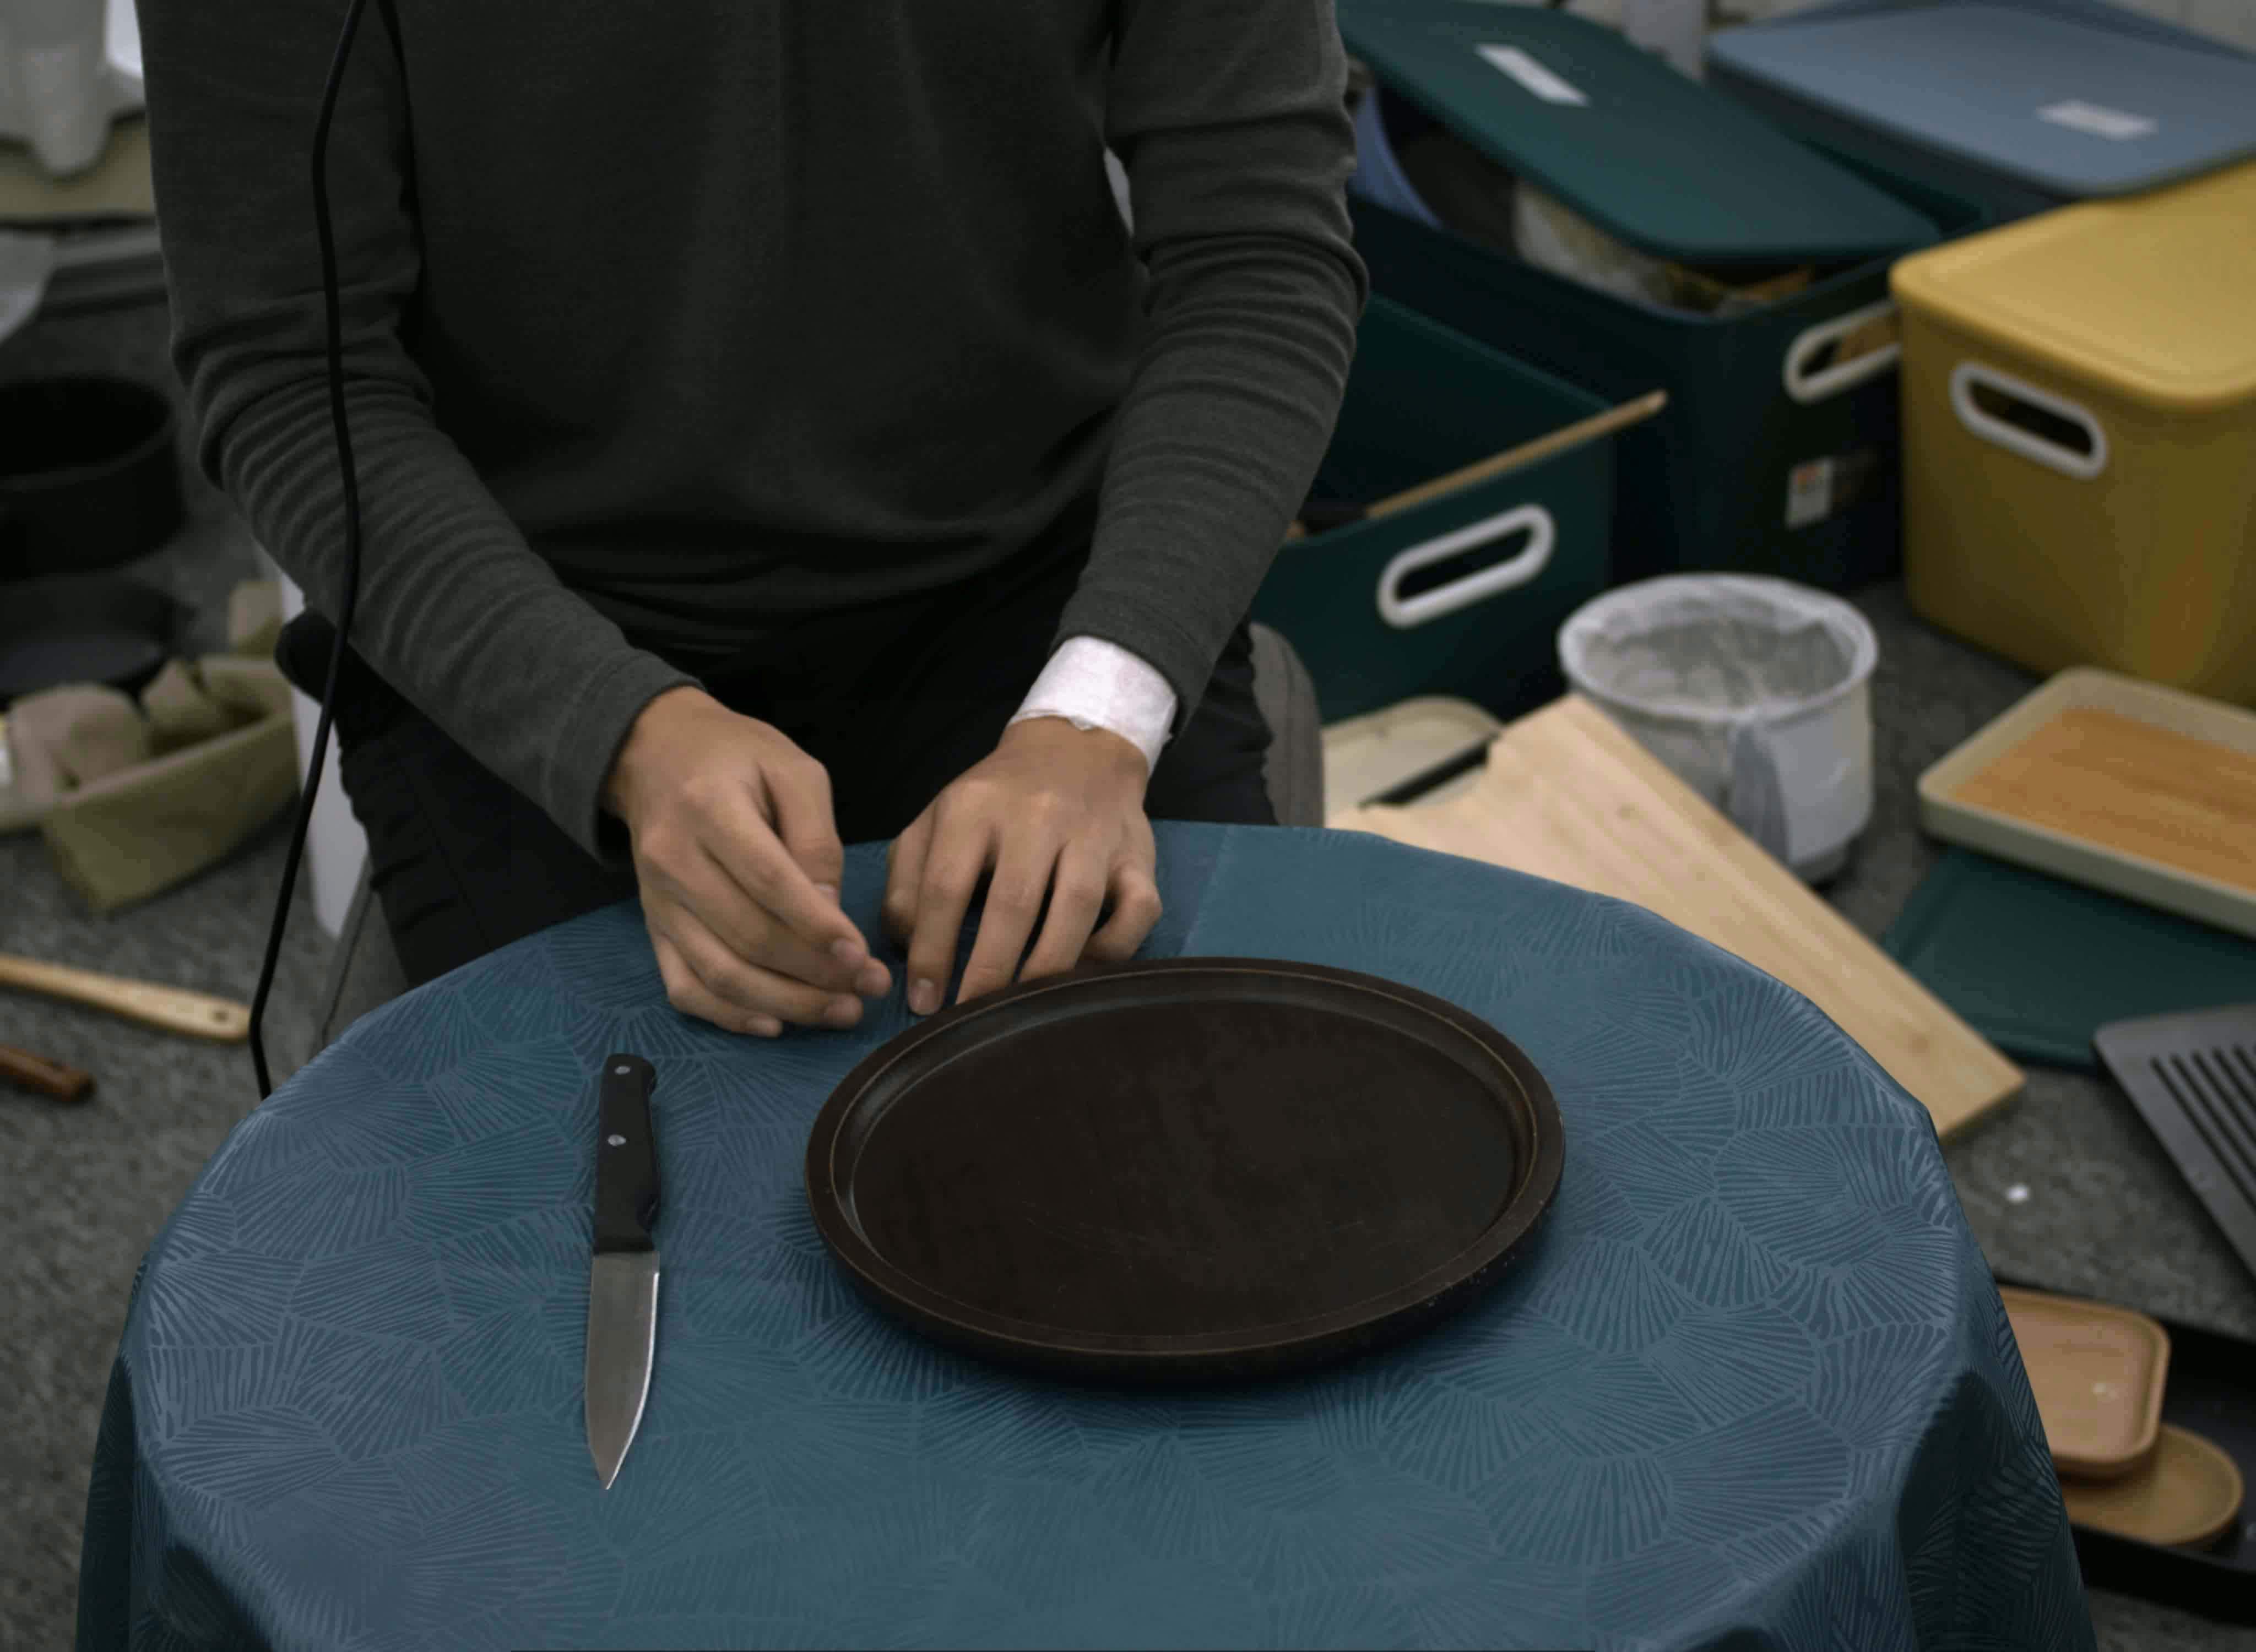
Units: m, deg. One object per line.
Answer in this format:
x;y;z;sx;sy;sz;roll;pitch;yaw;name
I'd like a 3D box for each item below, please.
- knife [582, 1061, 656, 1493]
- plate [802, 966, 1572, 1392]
-0.165;0.145;1.820;0.024;0.016;0.242;-1;30;-3;knife
0.019;0.114;1.851;0.253;0.029;0.259;-1;28;1;plate
